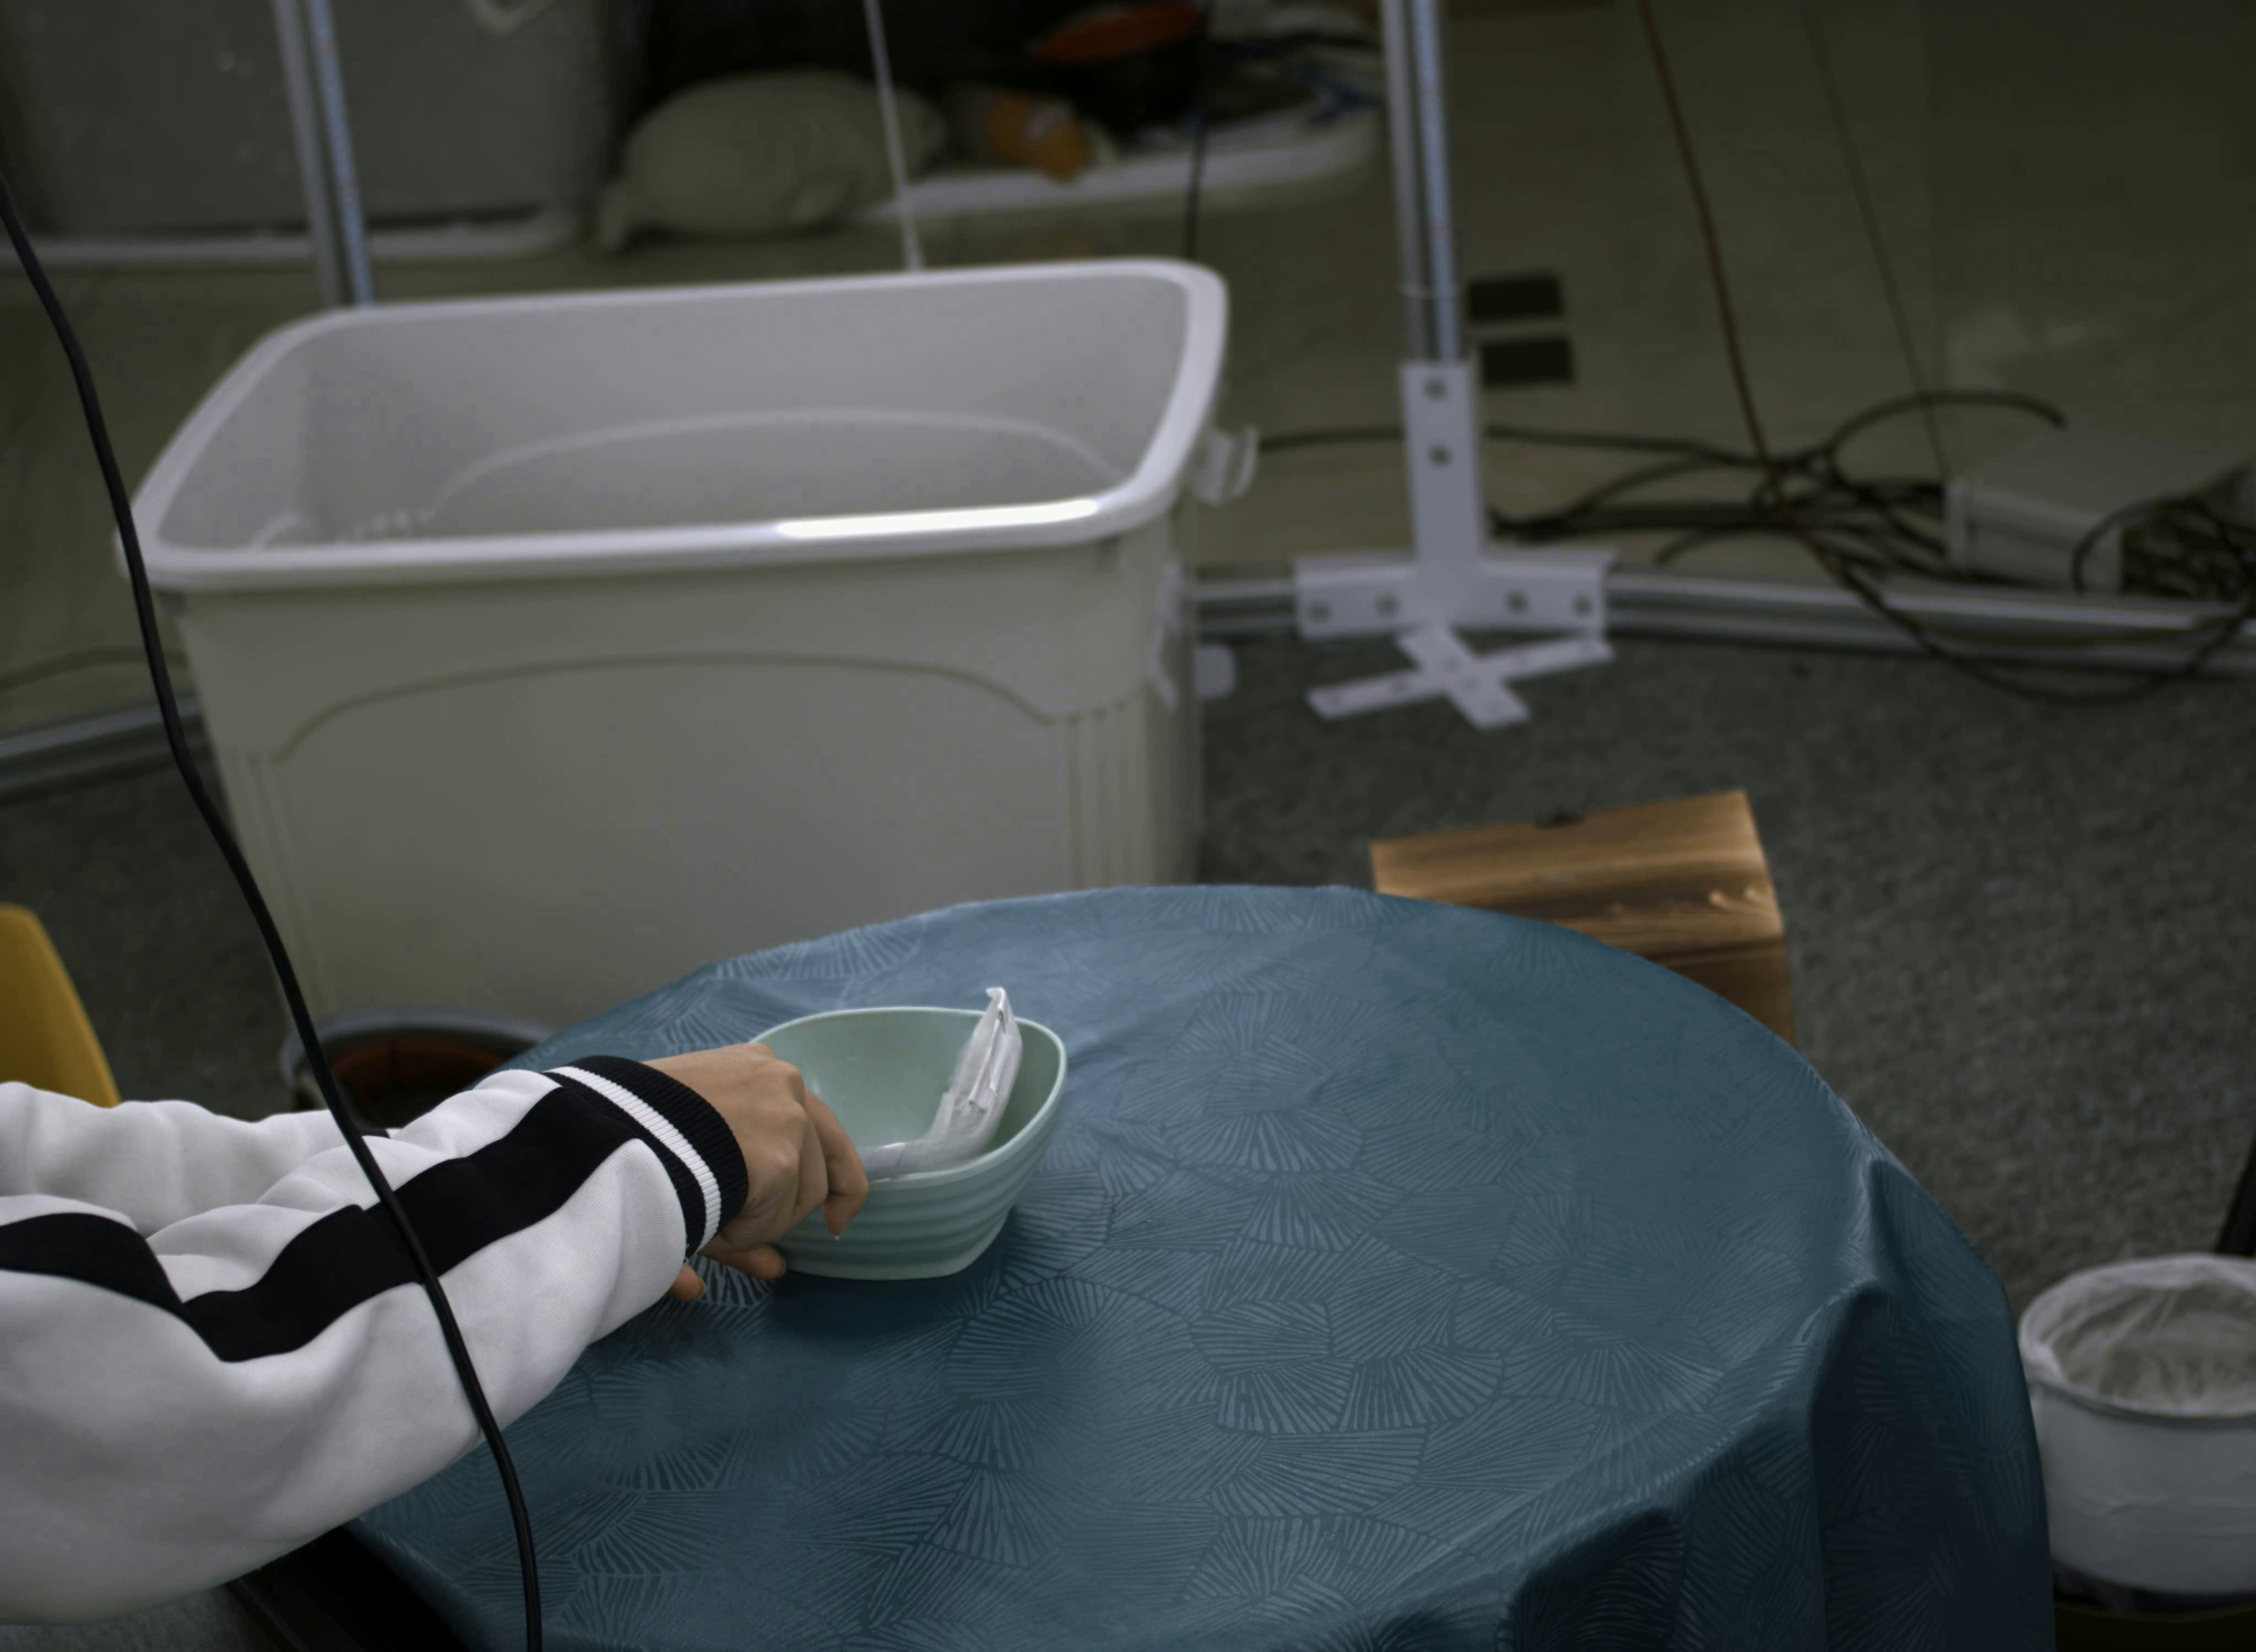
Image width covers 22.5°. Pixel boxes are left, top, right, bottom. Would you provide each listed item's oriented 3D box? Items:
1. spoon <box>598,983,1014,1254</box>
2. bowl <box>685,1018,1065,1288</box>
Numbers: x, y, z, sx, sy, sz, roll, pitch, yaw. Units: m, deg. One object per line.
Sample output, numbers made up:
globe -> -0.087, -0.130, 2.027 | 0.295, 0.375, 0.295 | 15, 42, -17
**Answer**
spoon -> -0.121, 0.117, 2.040 | 0.059, 0.102, 0.276 | 30, 22, 28
bowl -> -0.091, 0.128, 2.132 | 0.151, 0.059, 0.149 | -6, 25, 3
